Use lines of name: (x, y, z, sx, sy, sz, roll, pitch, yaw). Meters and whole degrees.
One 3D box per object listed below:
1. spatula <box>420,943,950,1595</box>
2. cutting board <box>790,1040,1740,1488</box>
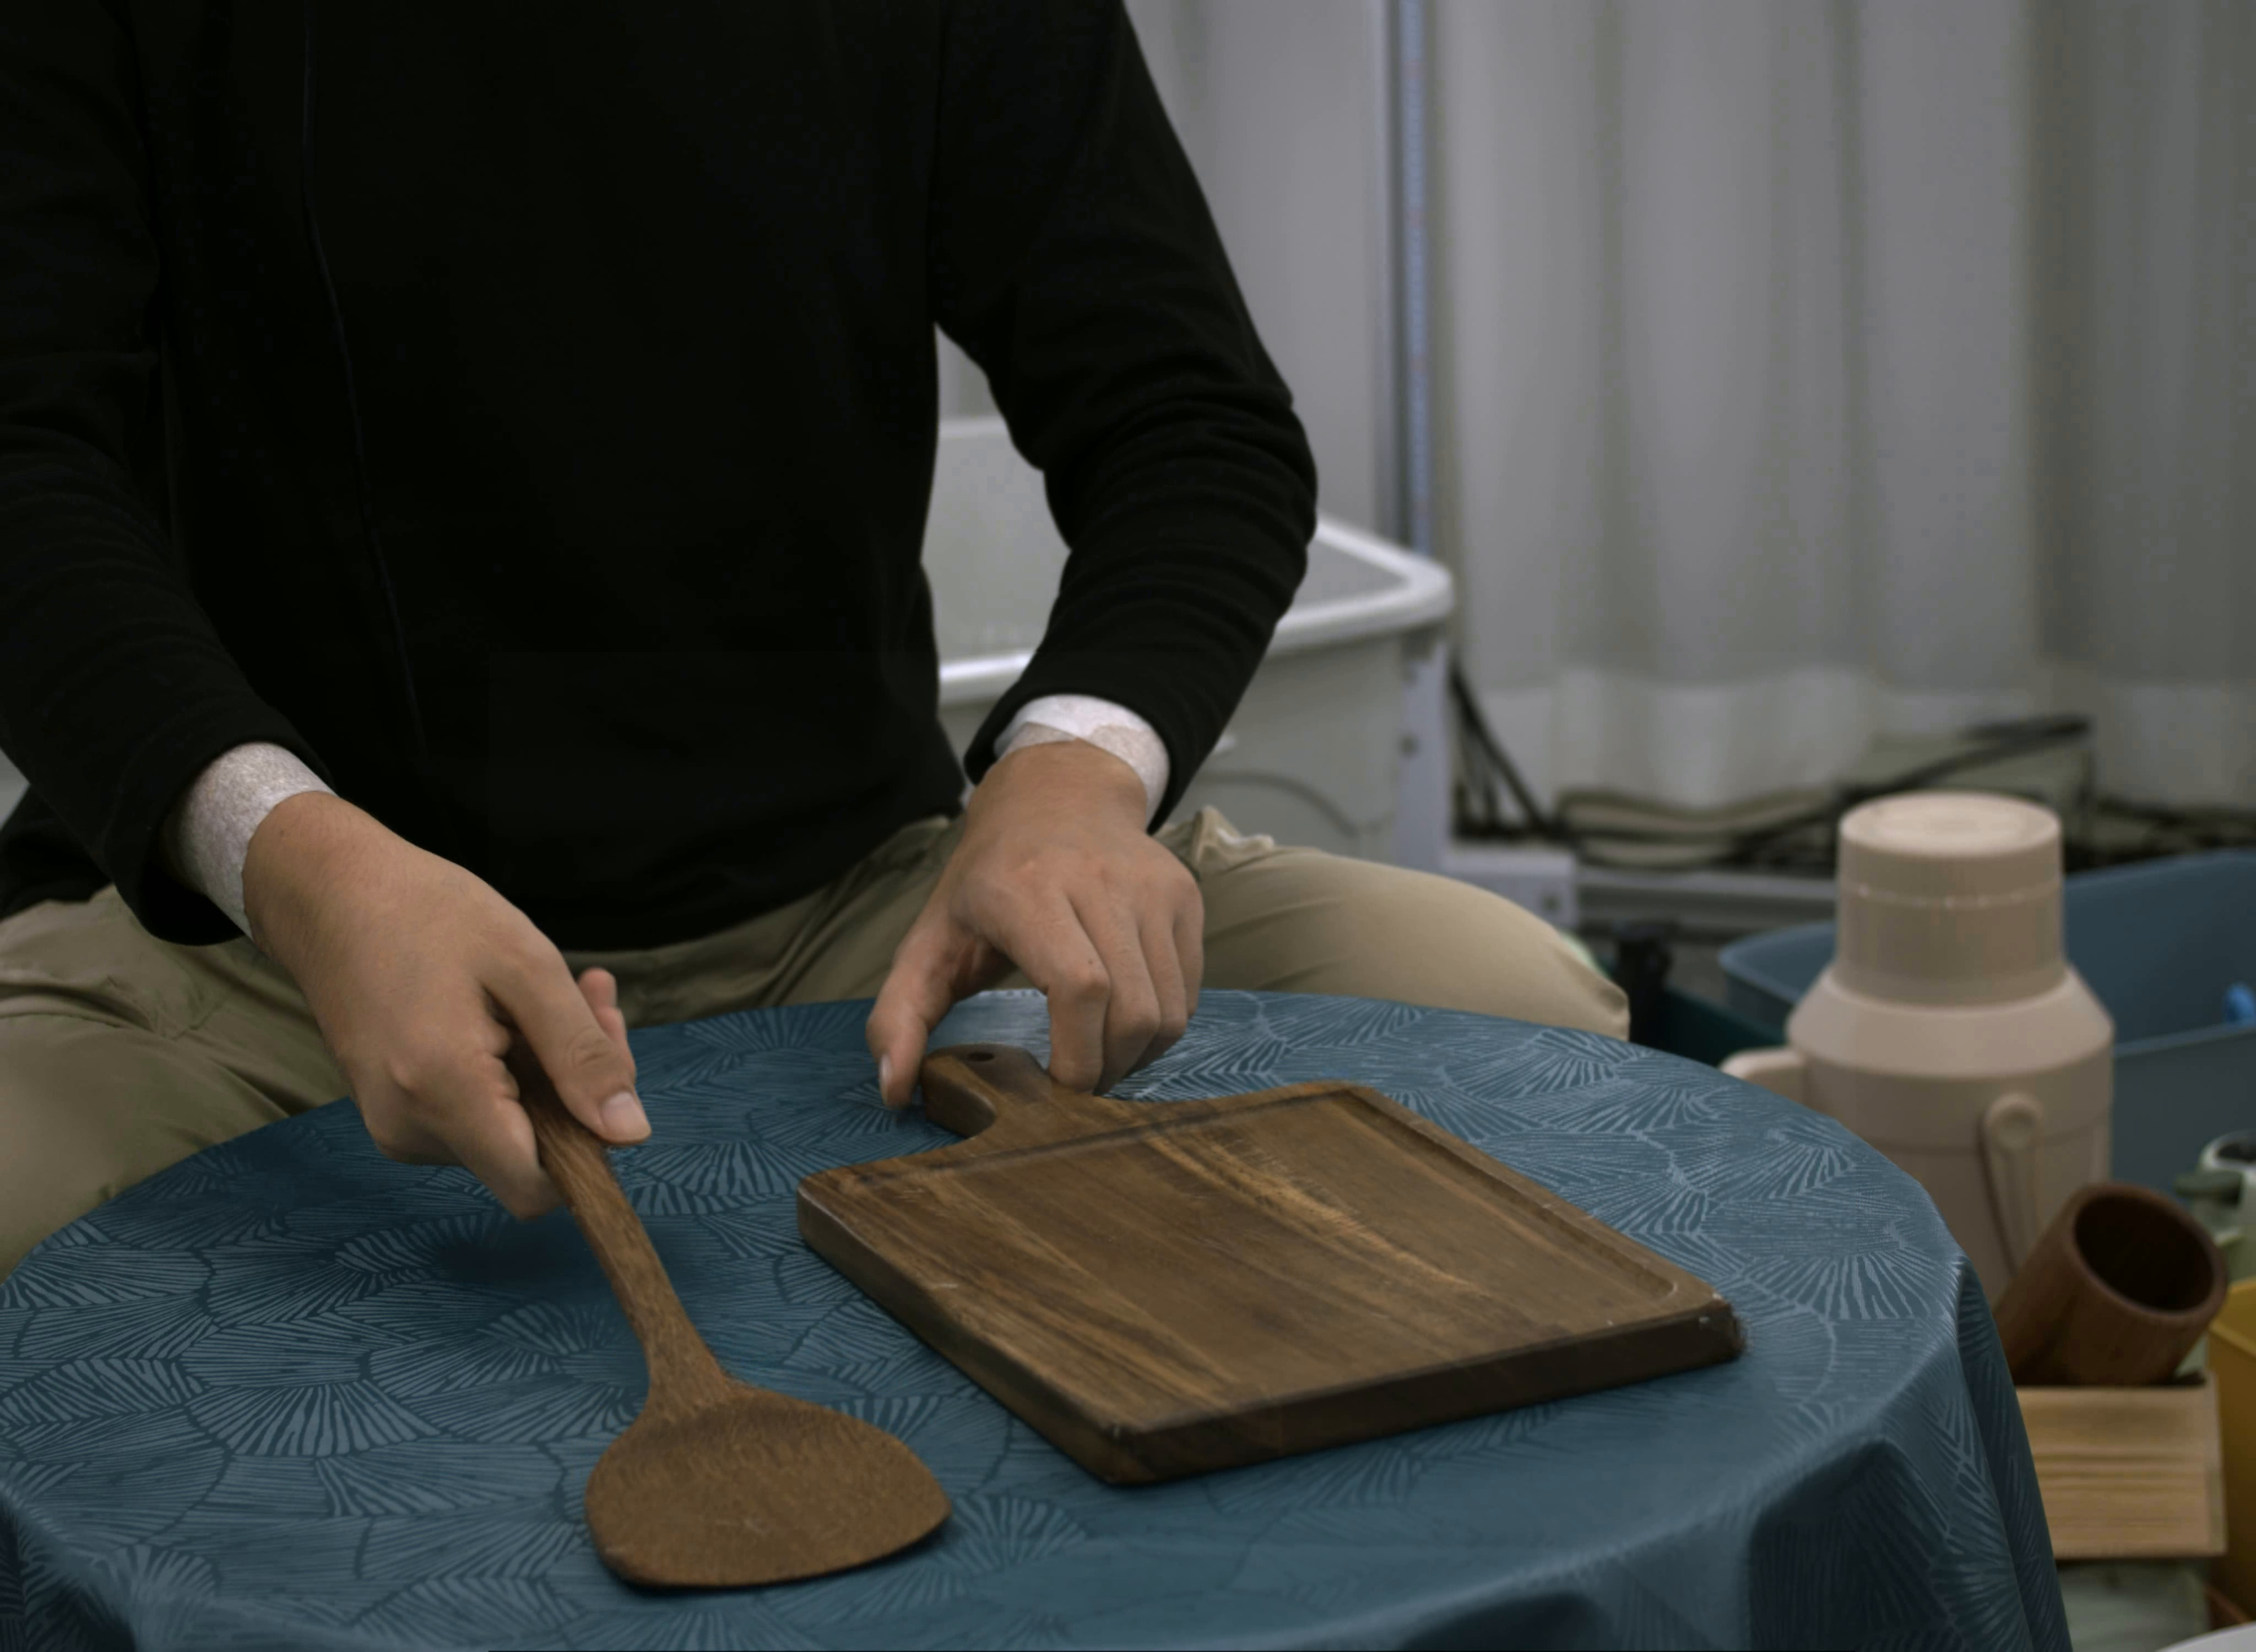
spatula: (-0.150, 0.118, 1.585, 0.095, 0.015, 0.391, -8, 27, -18)
cutting board: (0.014, 0.119, 1.657, 0.200, 0.023, 0.355, -9, 16, -23)
